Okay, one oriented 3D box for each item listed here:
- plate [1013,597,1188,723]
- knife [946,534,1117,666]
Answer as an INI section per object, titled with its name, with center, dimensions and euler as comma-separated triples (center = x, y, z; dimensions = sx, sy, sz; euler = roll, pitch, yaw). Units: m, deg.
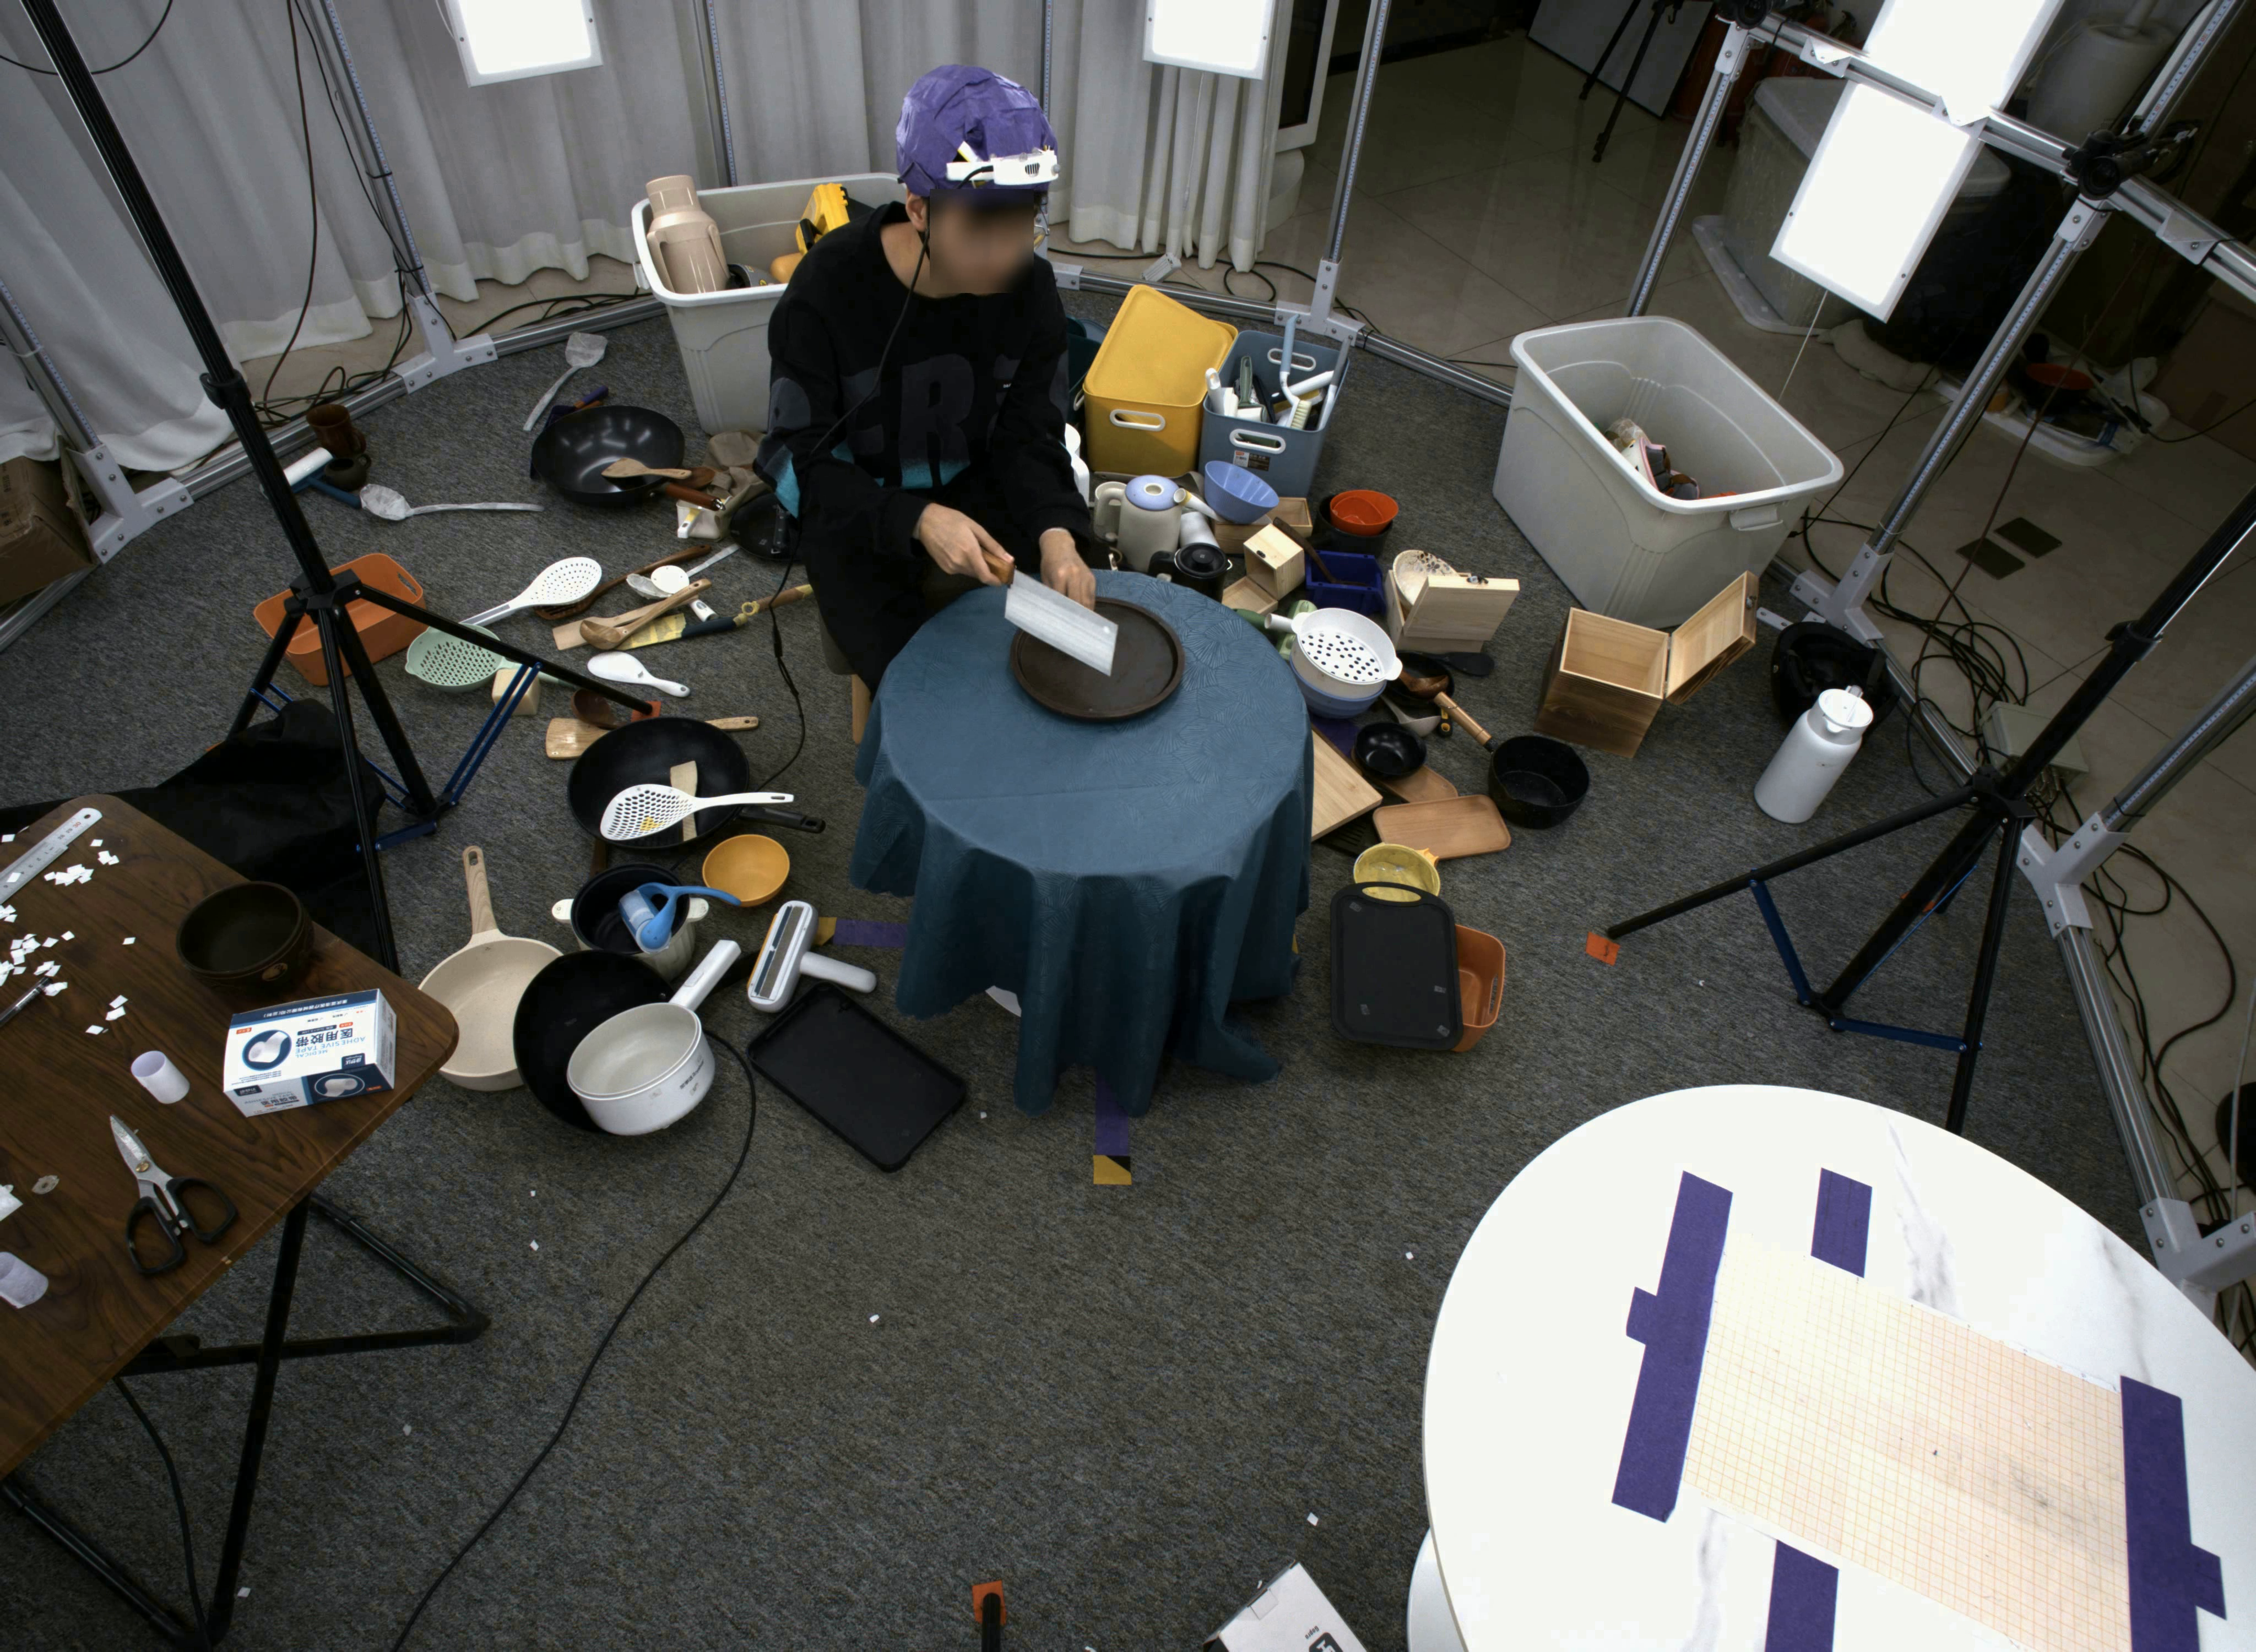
[plate]
center = -0.039, -0.242, 1.860
dimensions = 0.254, 0.028, 0.261
euler = 3, 48, -3
[knife]
center = -0.138, -0.313, 1.803
dimensions = 0.309, 0.091, 0.021
euler = 32, 47, 23
